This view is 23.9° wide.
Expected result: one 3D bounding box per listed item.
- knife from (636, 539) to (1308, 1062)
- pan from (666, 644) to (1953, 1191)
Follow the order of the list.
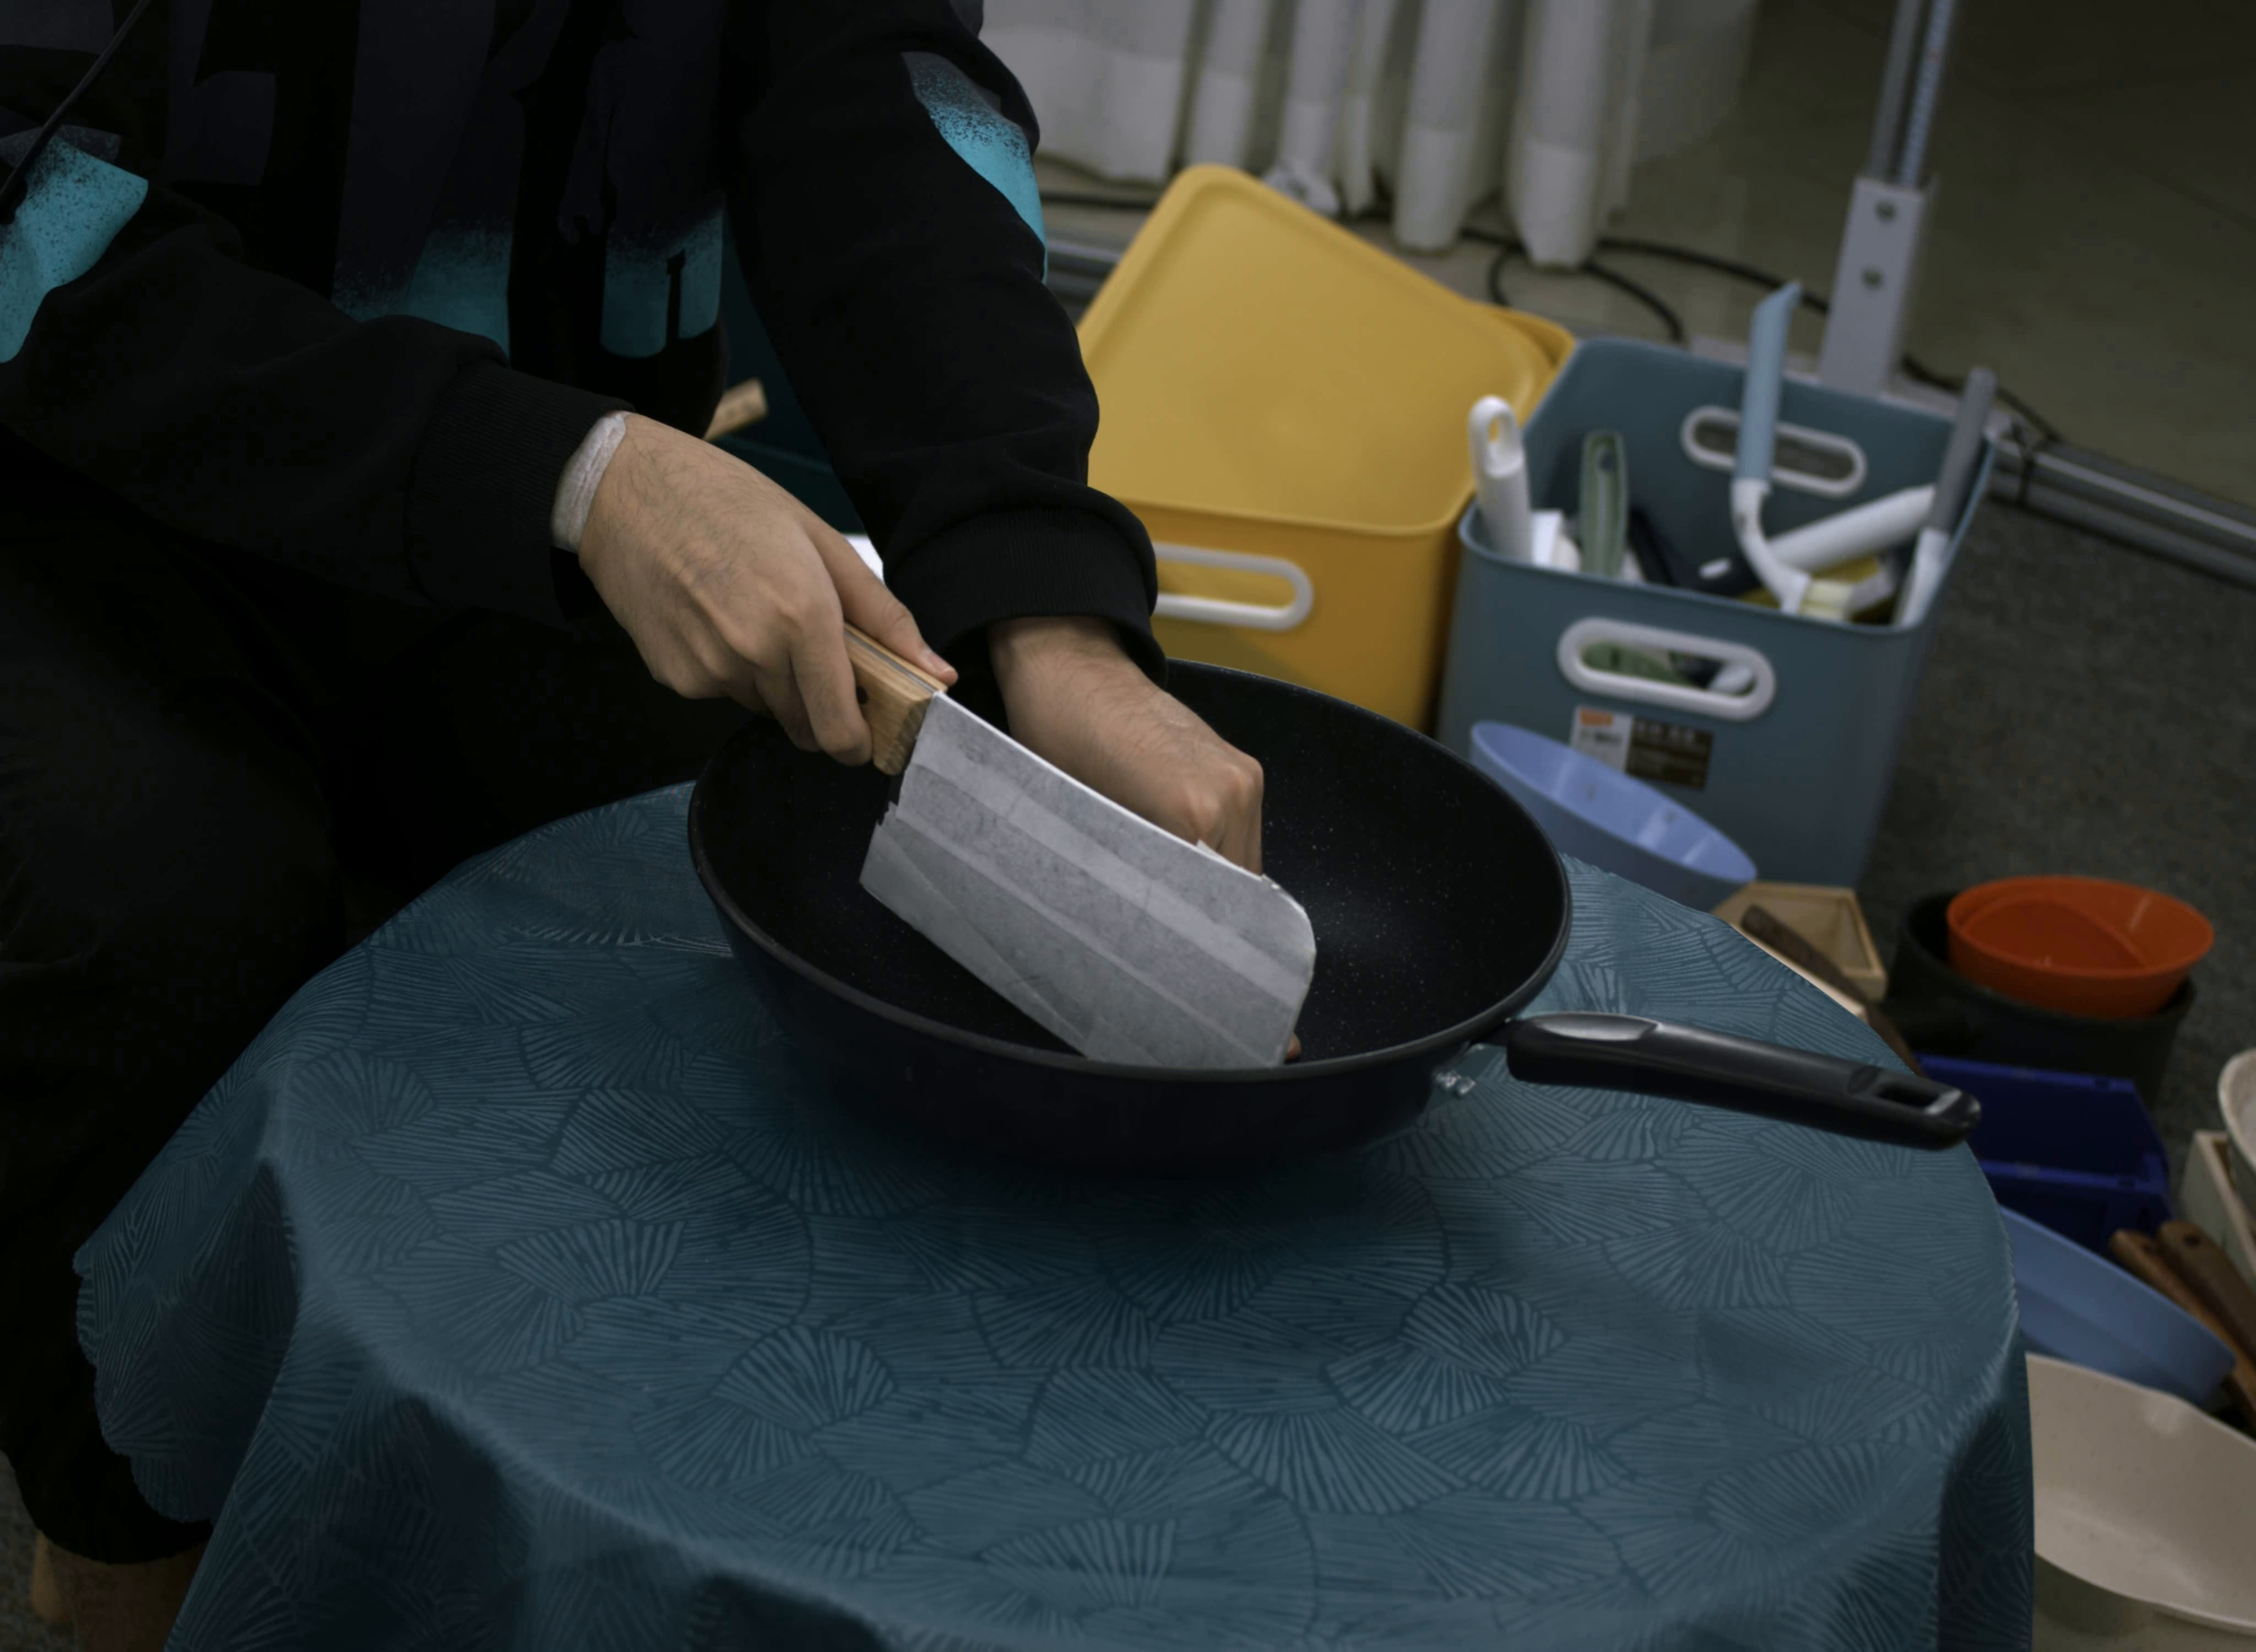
[{"bbox_3d":[-0.057,-0.007,1.856,0.317,0.113,0.021,37,33,24],"label":"knife"},{"bbox_3d":[0.060,0.061,1.822,0.479,0.111,0.309,22,32,28],"label":"pan"}]
